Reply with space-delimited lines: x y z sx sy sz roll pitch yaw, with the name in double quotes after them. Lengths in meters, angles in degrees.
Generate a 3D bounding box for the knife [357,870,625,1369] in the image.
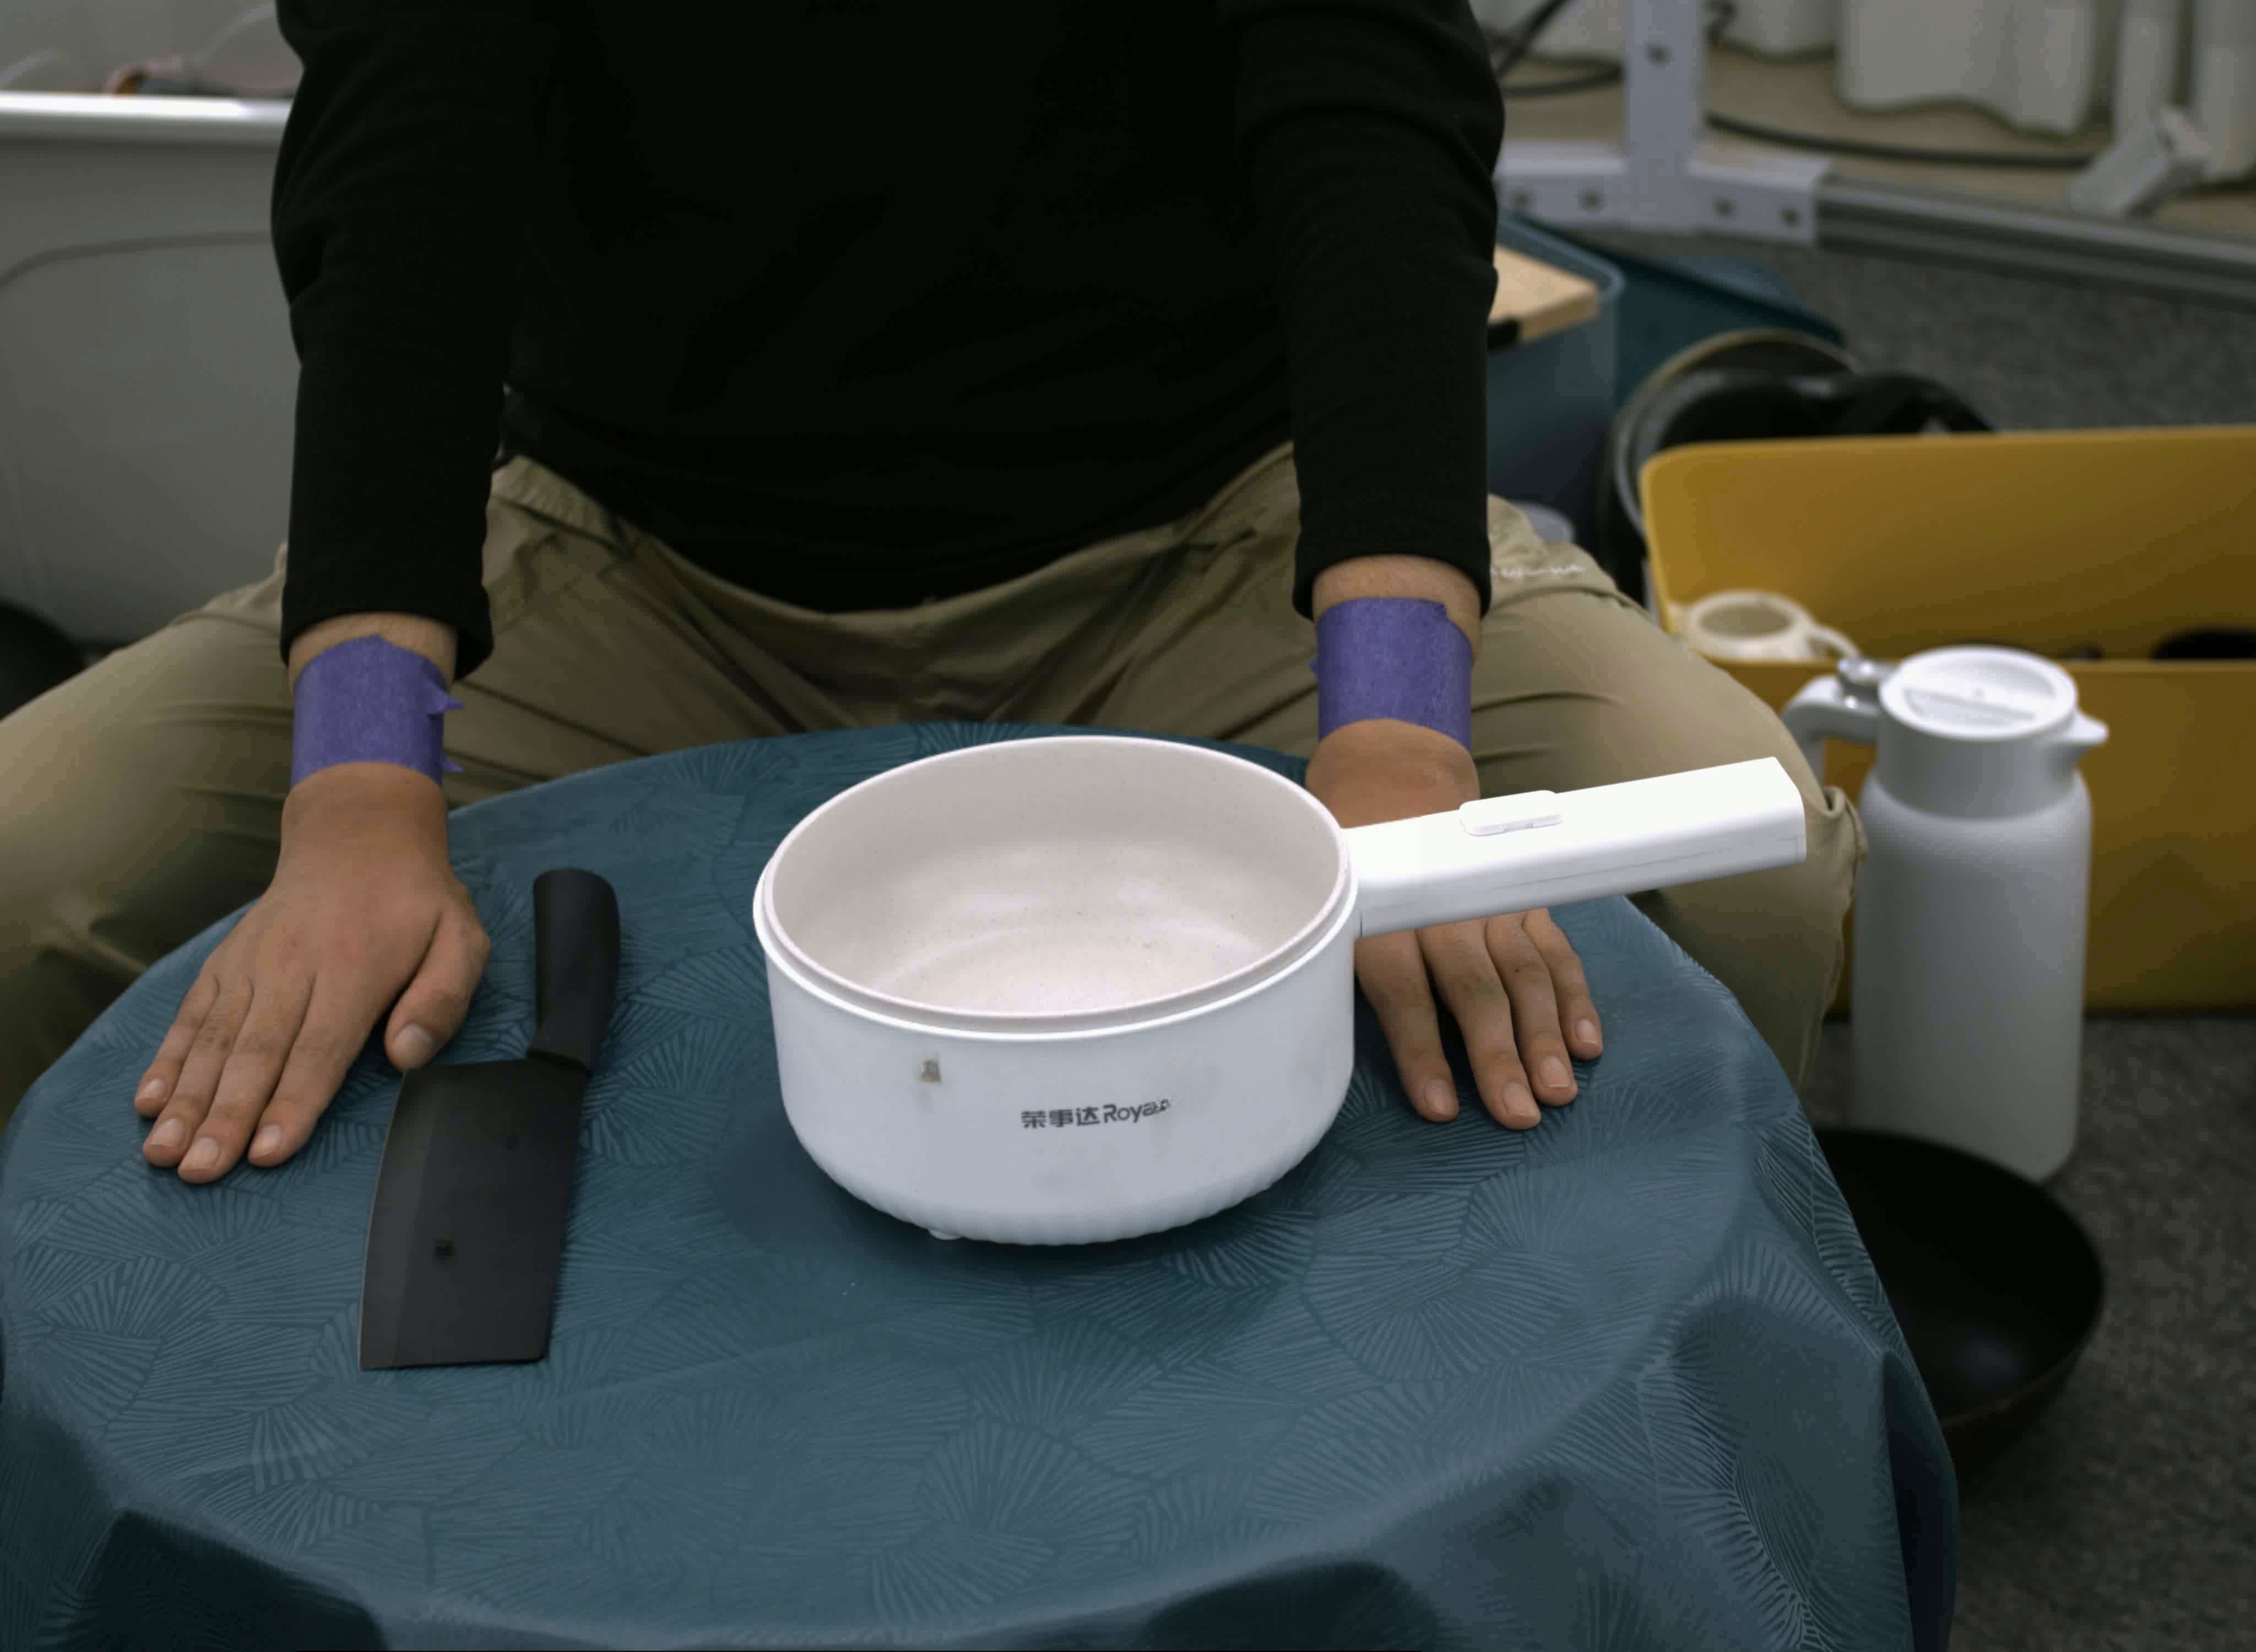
-0.212 0.098 1.912 0.080 0.020 0.307 -1 29 6 "knife"

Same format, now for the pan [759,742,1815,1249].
0.054 0.051 1.889 0.354 0.101 0.203 -7 26 -10 "pan"
